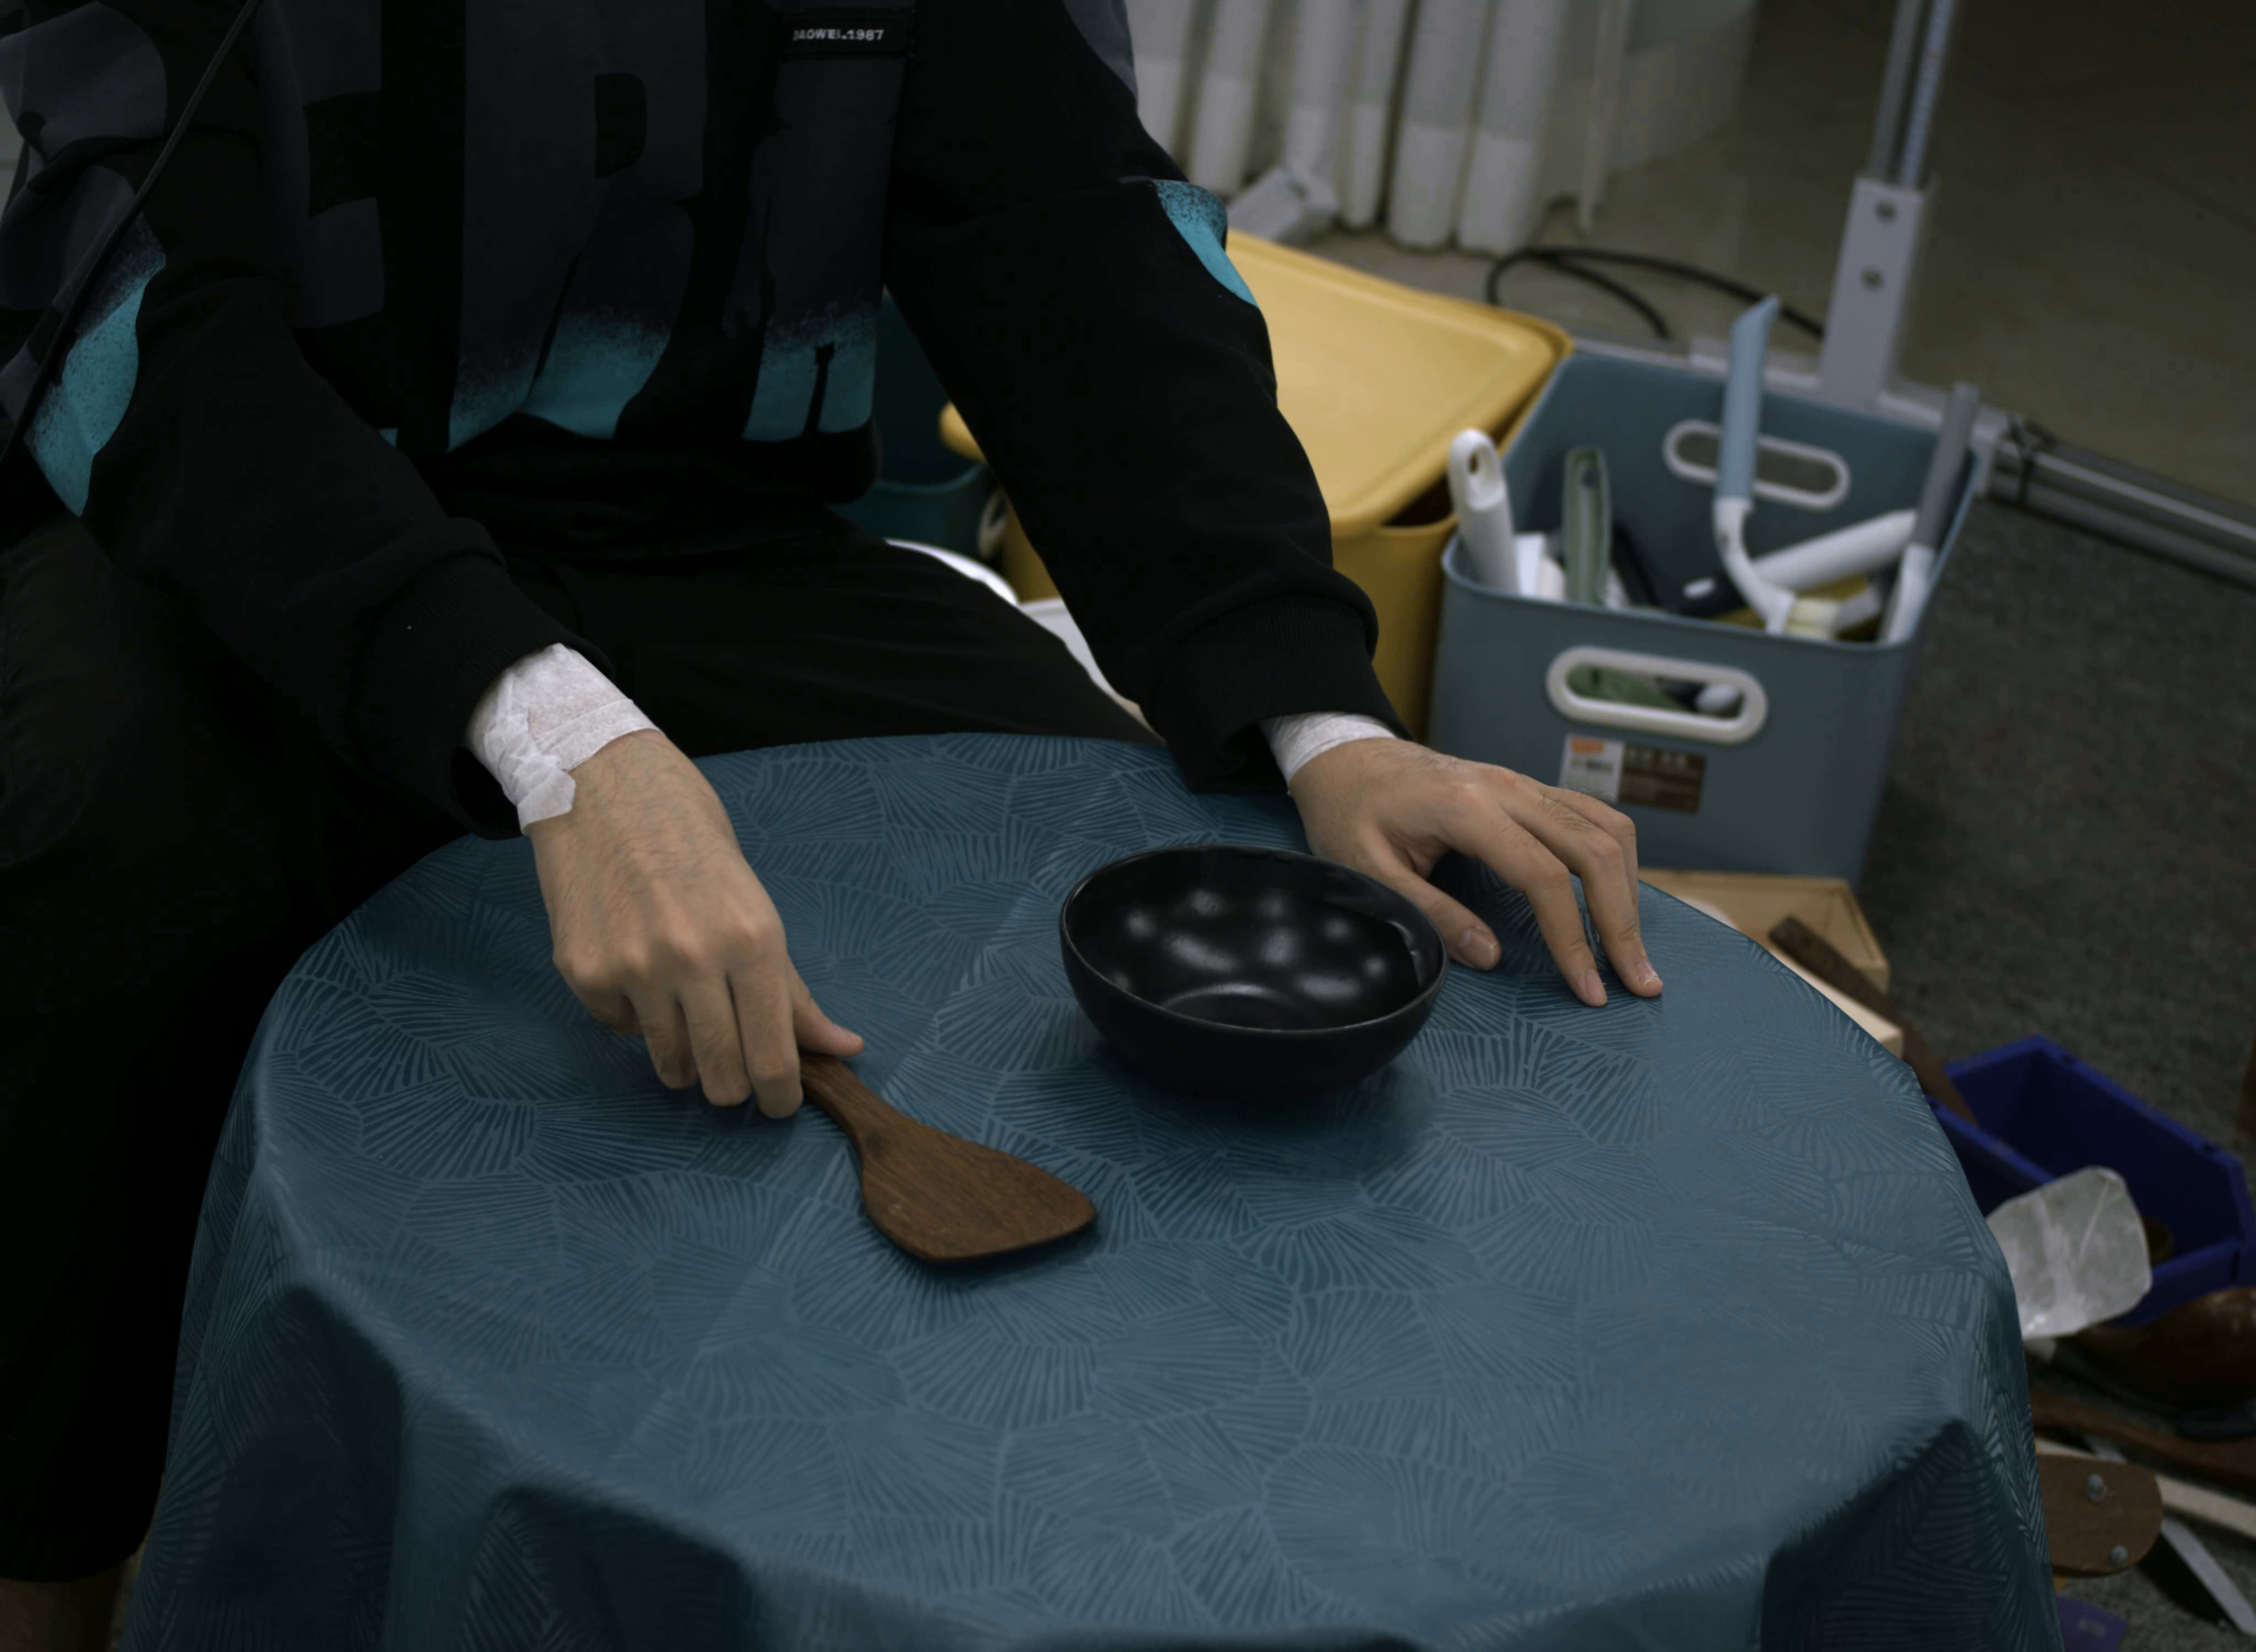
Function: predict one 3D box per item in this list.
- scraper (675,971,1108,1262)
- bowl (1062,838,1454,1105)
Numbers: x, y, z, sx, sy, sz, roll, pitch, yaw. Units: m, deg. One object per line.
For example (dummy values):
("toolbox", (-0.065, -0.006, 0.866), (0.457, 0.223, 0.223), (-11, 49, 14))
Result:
("scraper", (-0.092, 0.098, 1.822), (0.075, 0.011, 0.213), (-11, 31, -35))
("bowl", (0.044, 0.059, 1.882), (0.139, 0.049, 0.141), (4, 29, -2))
